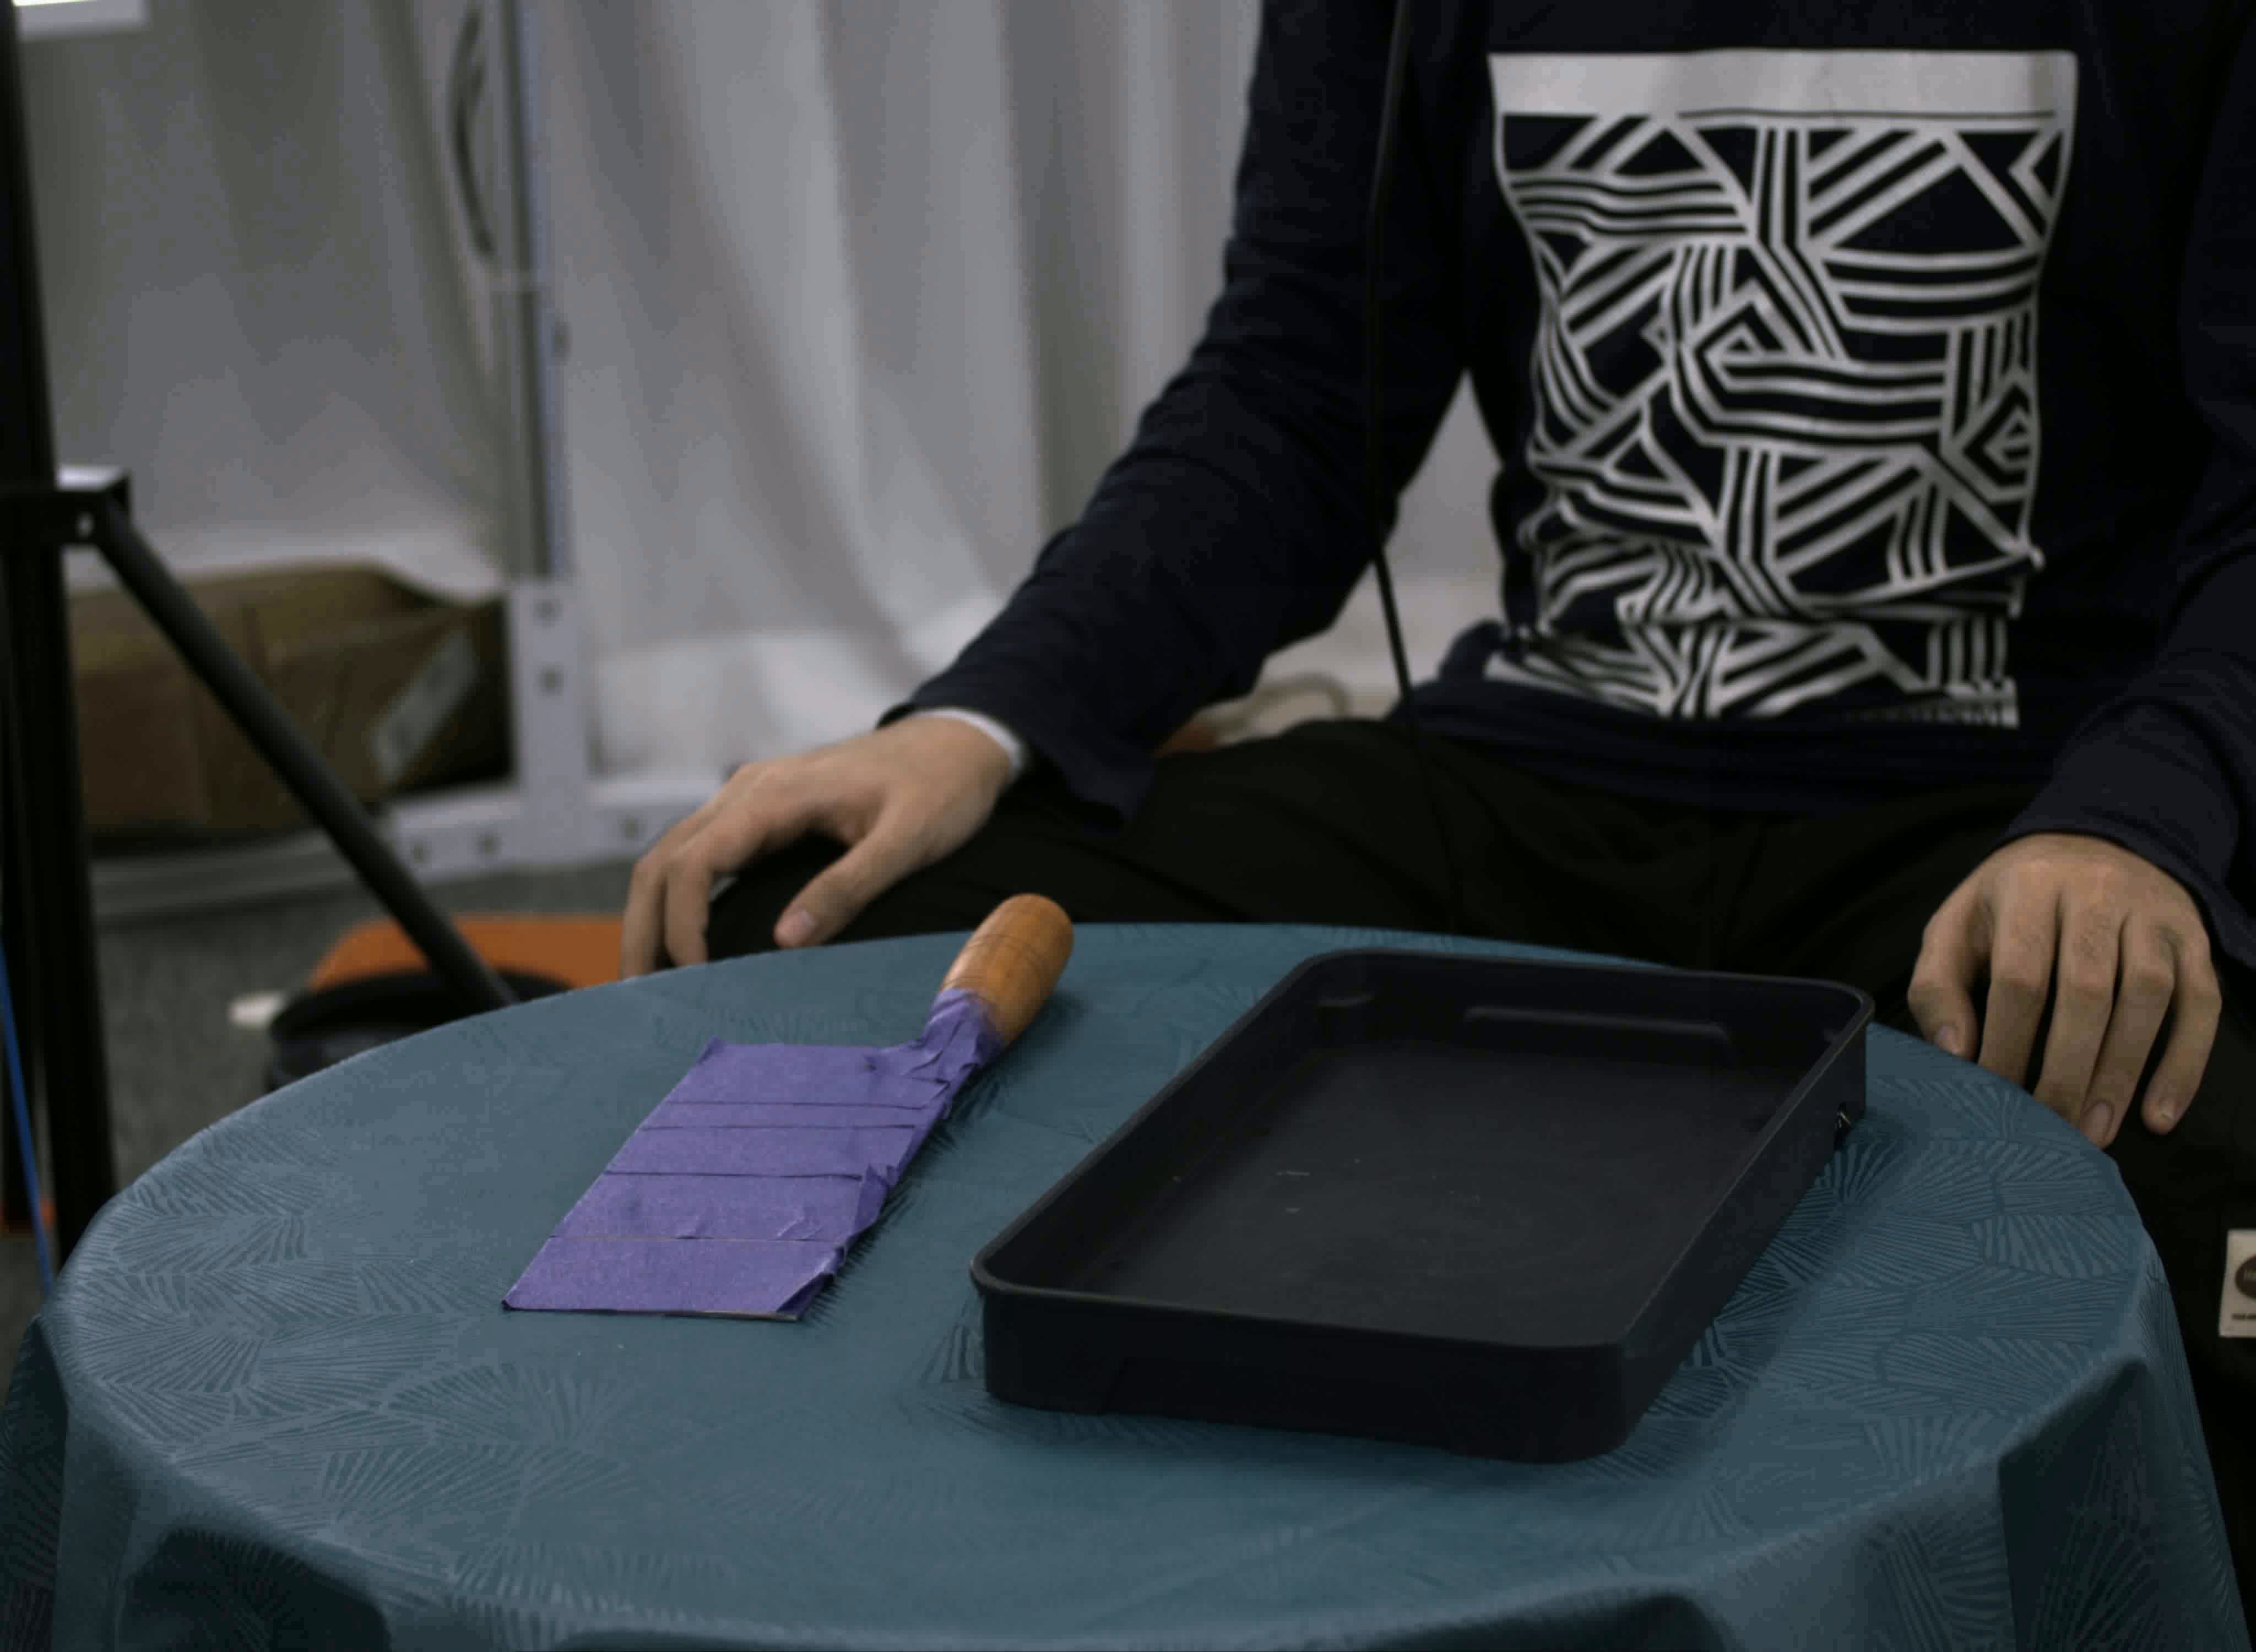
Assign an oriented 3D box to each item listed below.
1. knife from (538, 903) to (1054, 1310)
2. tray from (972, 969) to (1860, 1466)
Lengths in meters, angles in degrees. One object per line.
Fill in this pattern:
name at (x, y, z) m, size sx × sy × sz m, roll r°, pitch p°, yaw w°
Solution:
knife at (-0.098, 0.082, 1.620) m, size 0.104 × 0.032 × 0.313 m, roll 1°, pitch 17°, yaw 12°
tray at (0.090, 0.104, 1.503) m, size 0.186 × 0.037 × 0.314 m, roll 3°, pitch 15°, yaw 20°
